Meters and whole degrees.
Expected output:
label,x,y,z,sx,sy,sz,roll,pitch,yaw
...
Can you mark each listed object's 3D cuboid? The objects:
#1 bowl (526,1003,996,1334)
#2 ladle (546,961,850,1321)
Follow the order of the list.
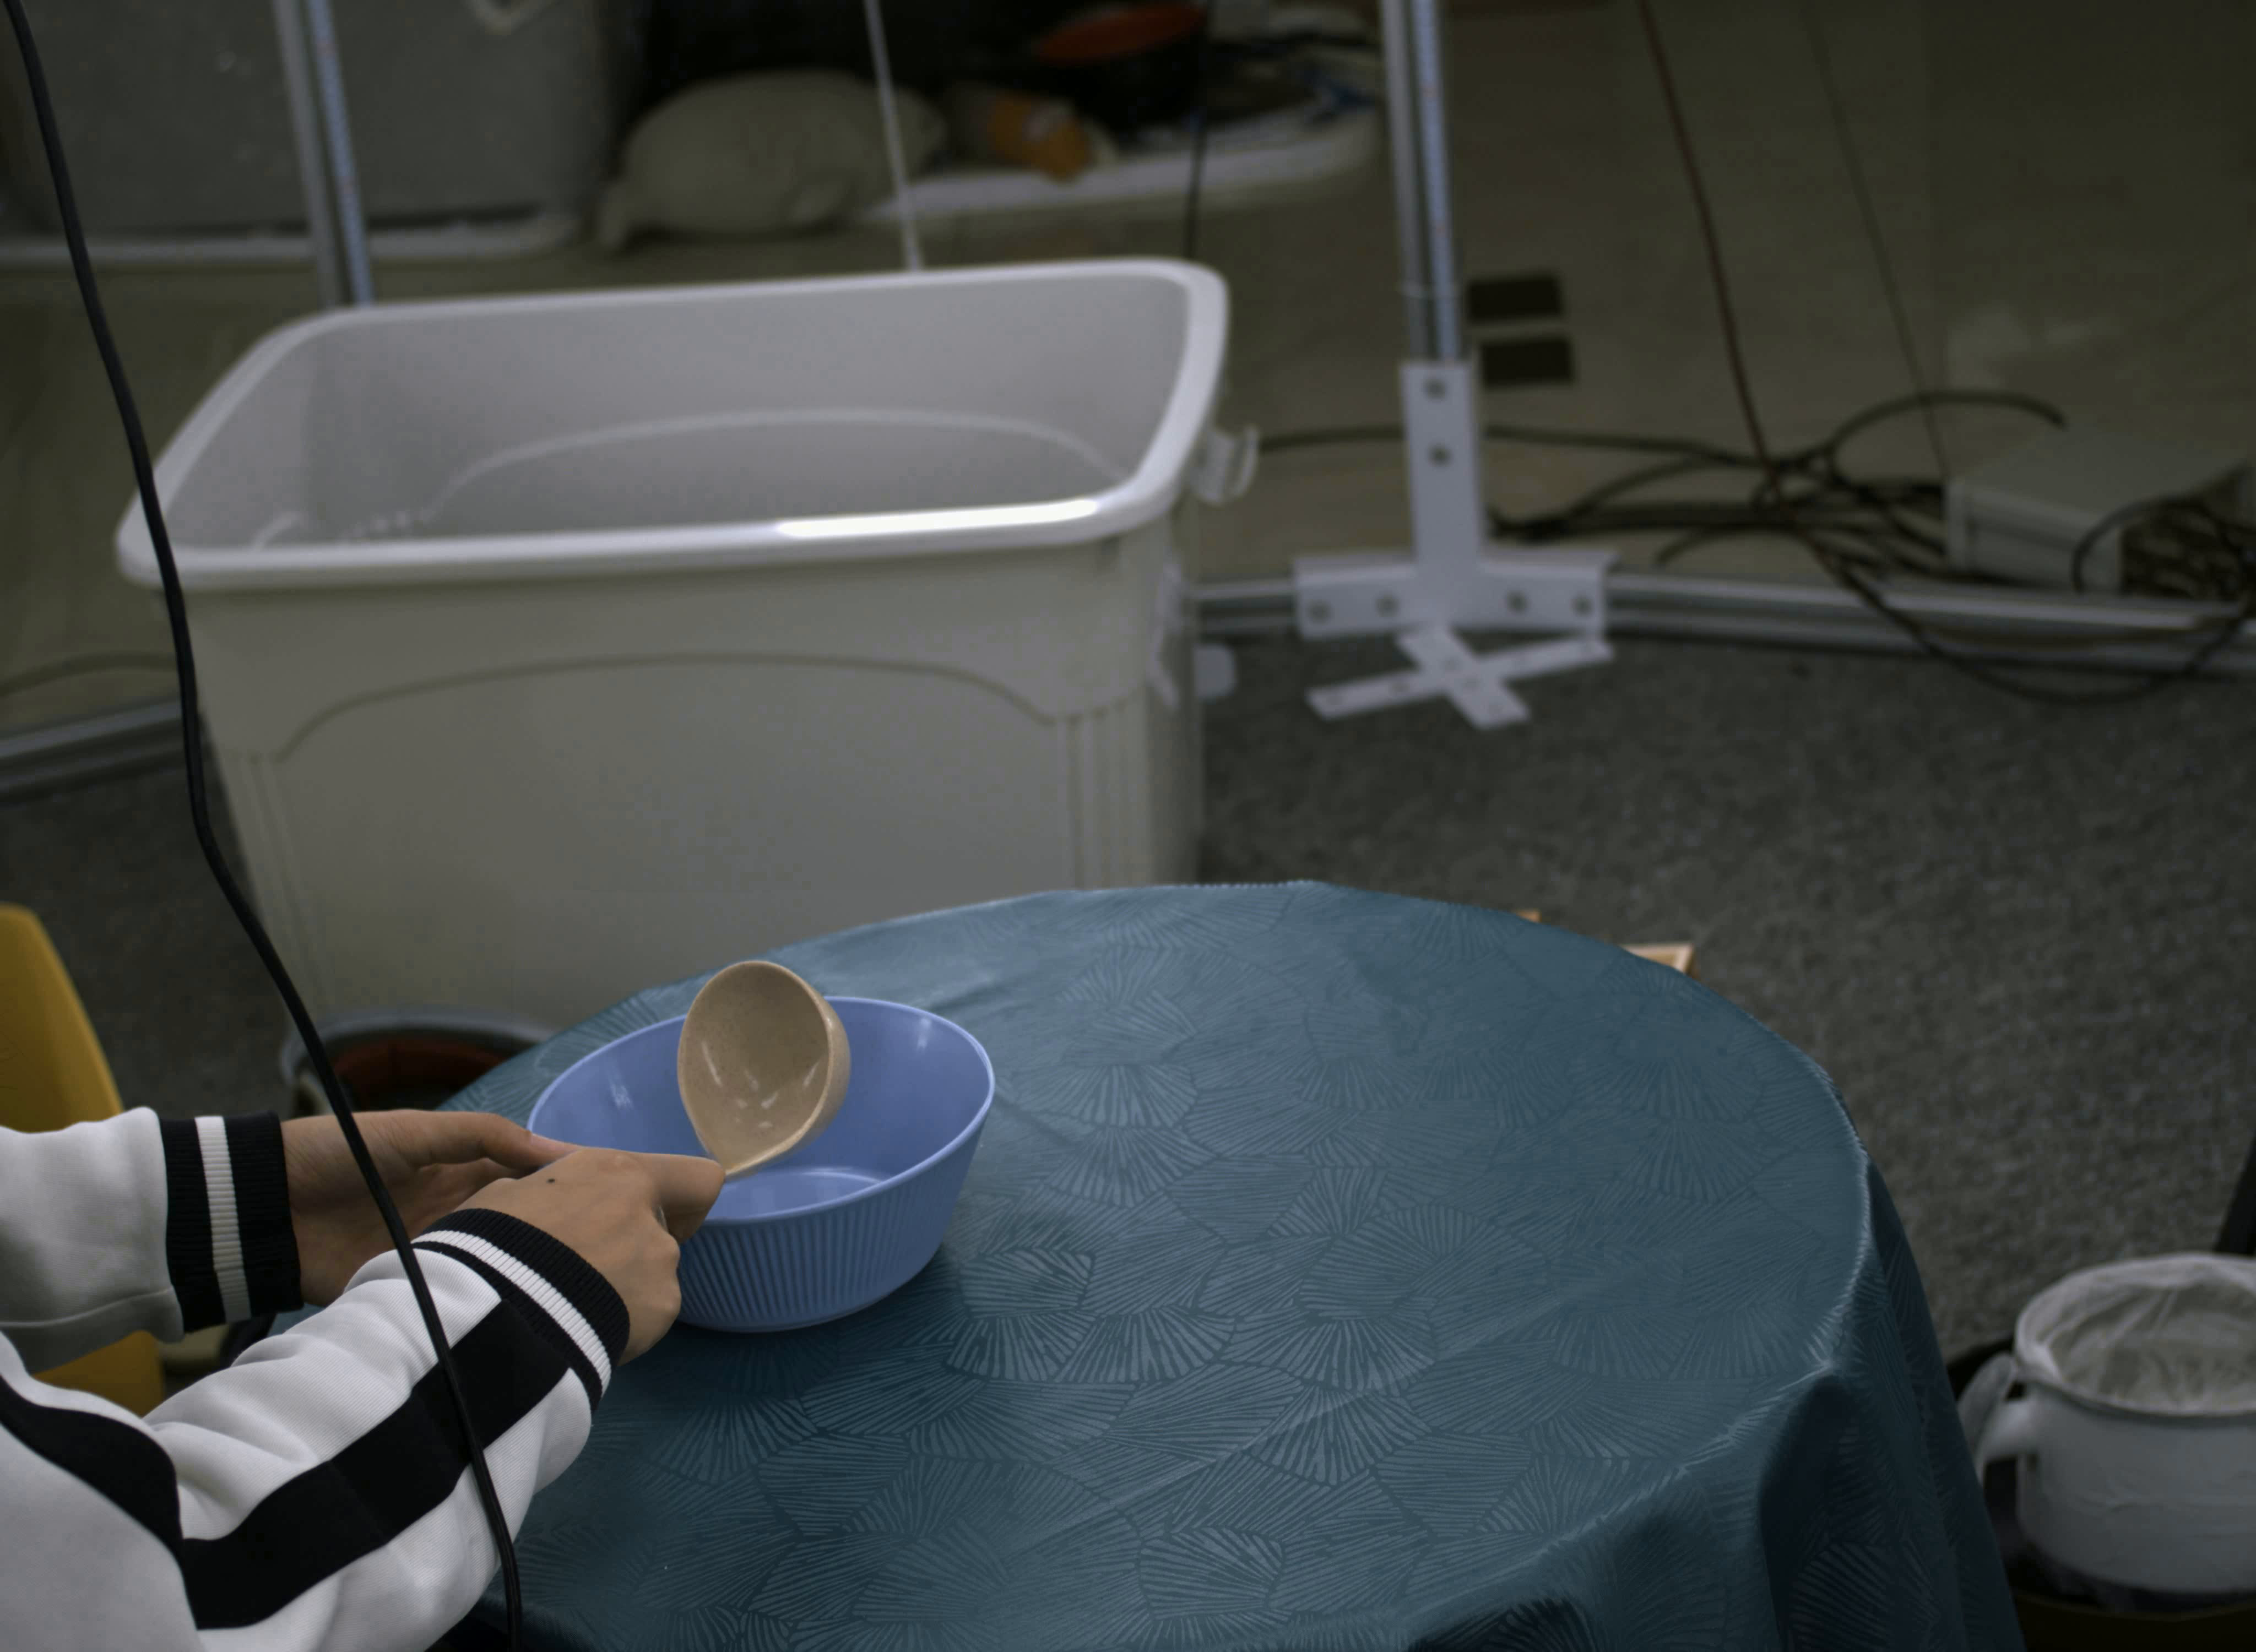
label,x,y,z,sx,sy,sz,roll,pitch,yaw
bowl,-0.132,0.133,2.110,0.176,0.071,0.173,-6,24,3
ladle,-0.169,0.108,1.995,0.072,0.073,0.252,-37,-2,23
